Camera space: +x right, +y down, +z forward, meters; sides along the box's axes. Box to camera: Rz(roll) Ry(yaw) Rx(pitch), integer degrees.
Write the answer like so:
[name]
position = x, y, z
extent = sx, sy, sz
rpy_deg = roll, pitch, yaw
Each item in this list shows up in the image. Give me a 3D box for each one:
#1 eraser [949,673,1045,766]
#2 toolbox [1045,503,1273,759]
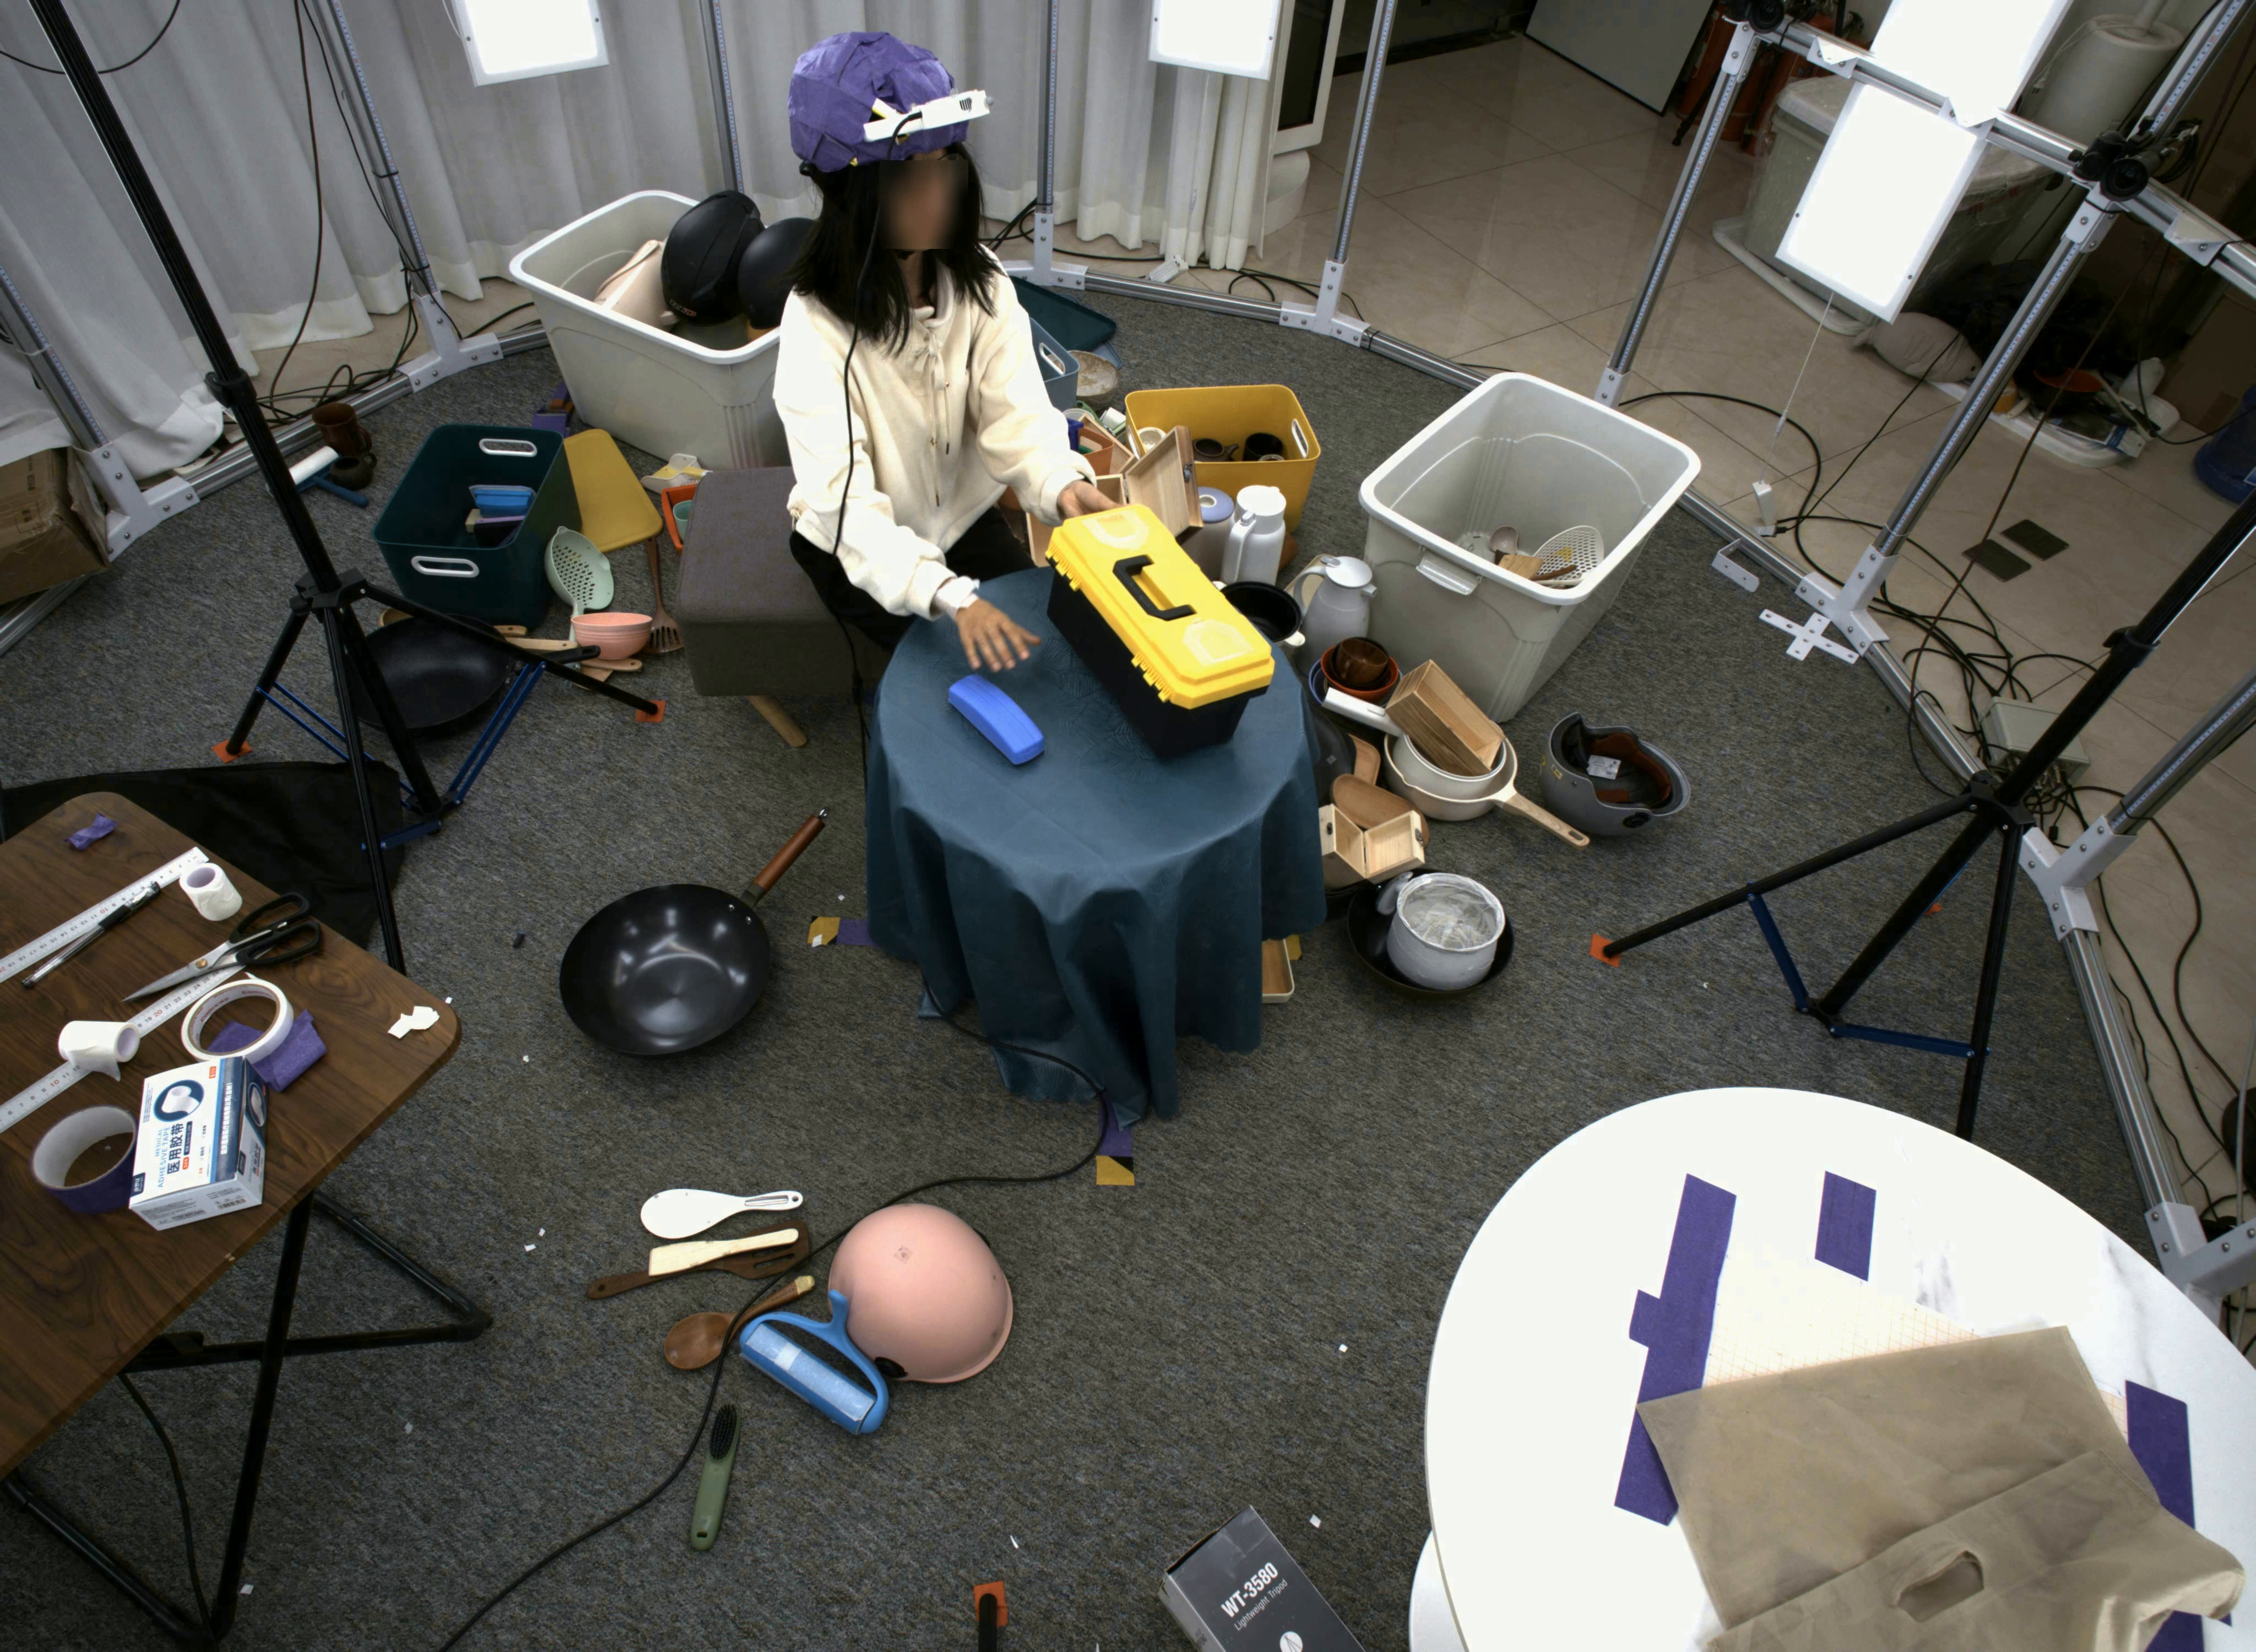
[eraser]
position = -0.180, -0.151, 1.758
extent = 0.054, 0.046, 0.165
rpy_deg = -30, 58, -27
[toolbox]
position = 0.032, -0.271, 1.771
extent = 0.182, 0.169, 0.358
rpy_deg = -19, 57, -28
